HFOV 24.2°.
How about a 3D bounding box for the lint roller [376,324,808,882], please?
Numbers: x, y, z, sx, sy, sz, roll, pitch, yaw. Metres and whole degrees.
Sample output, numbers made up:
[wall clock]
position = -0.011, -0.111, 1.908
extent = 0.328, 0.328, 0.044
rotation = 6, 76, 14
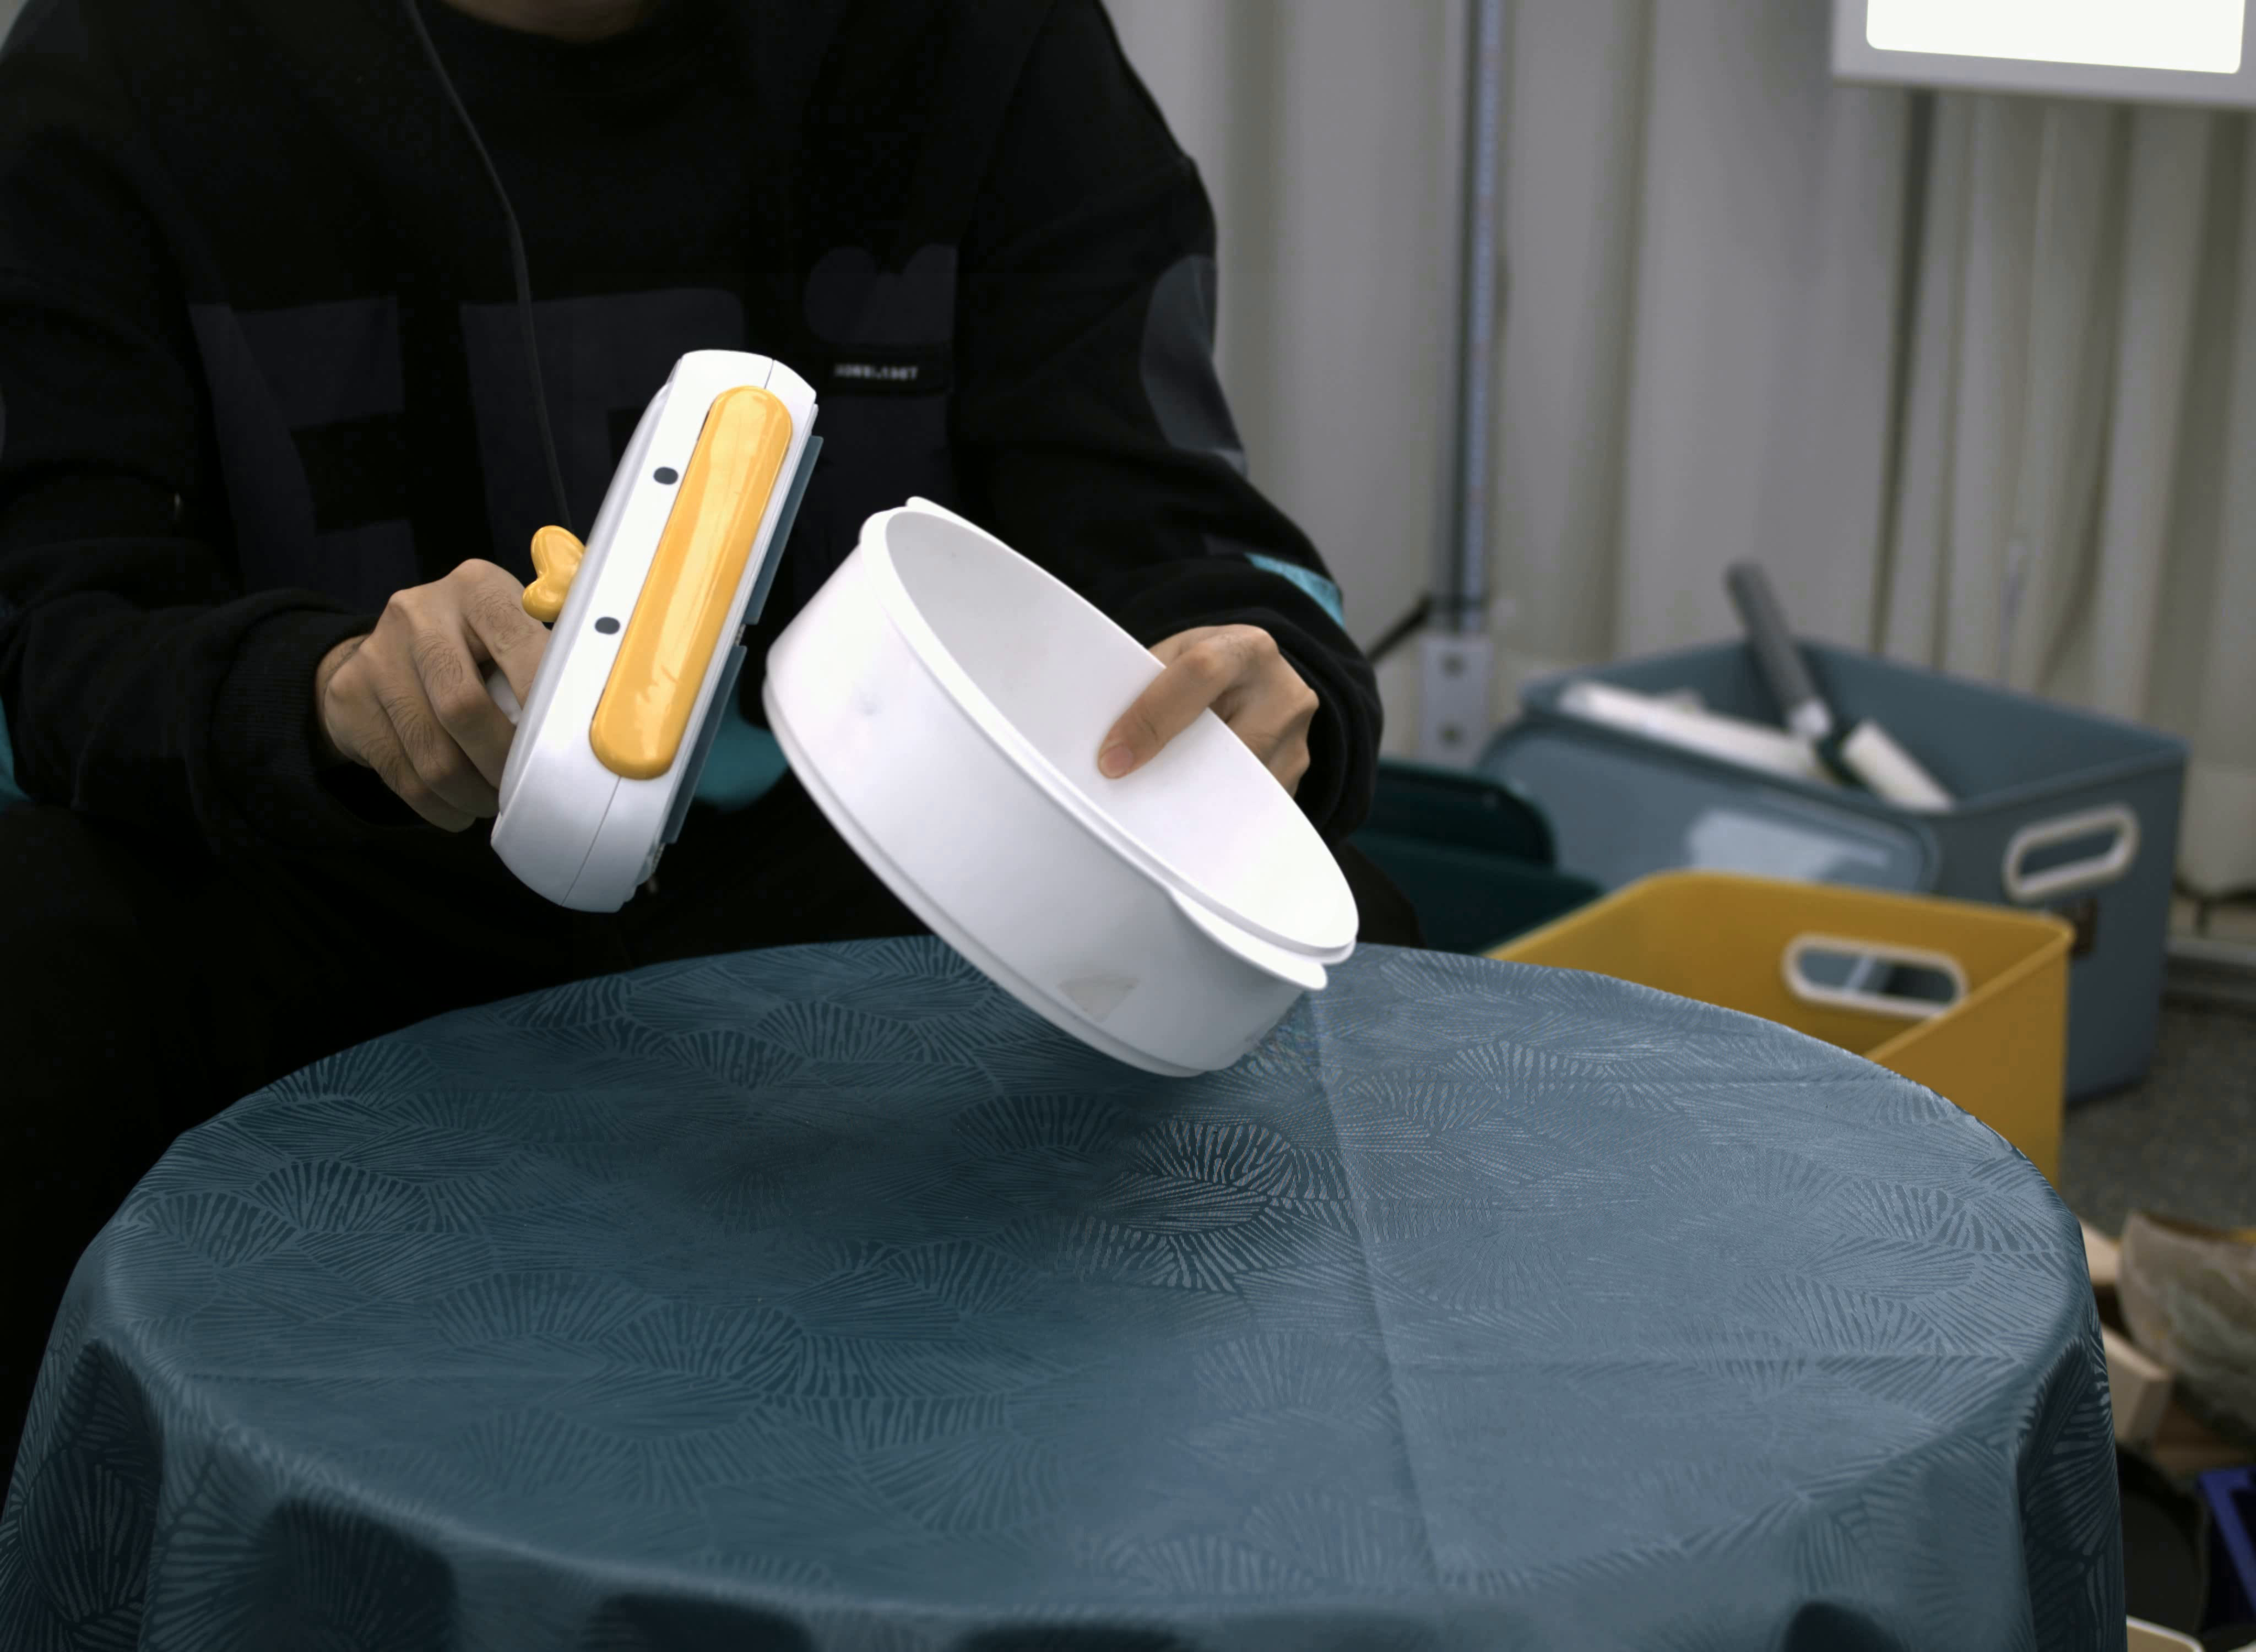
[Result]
[lint roller]
position = -0.177, -0.047, 1.657
extent = 0.074, 0.192, 0.192
rotation = 23, -35, -18

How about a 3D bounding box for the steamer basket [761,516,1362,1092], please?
[steamer basket]
position = -0.022, -0.004, 1.616
extent = 0.204, 0.069, 0.227
rotation = 30, 17, -47
